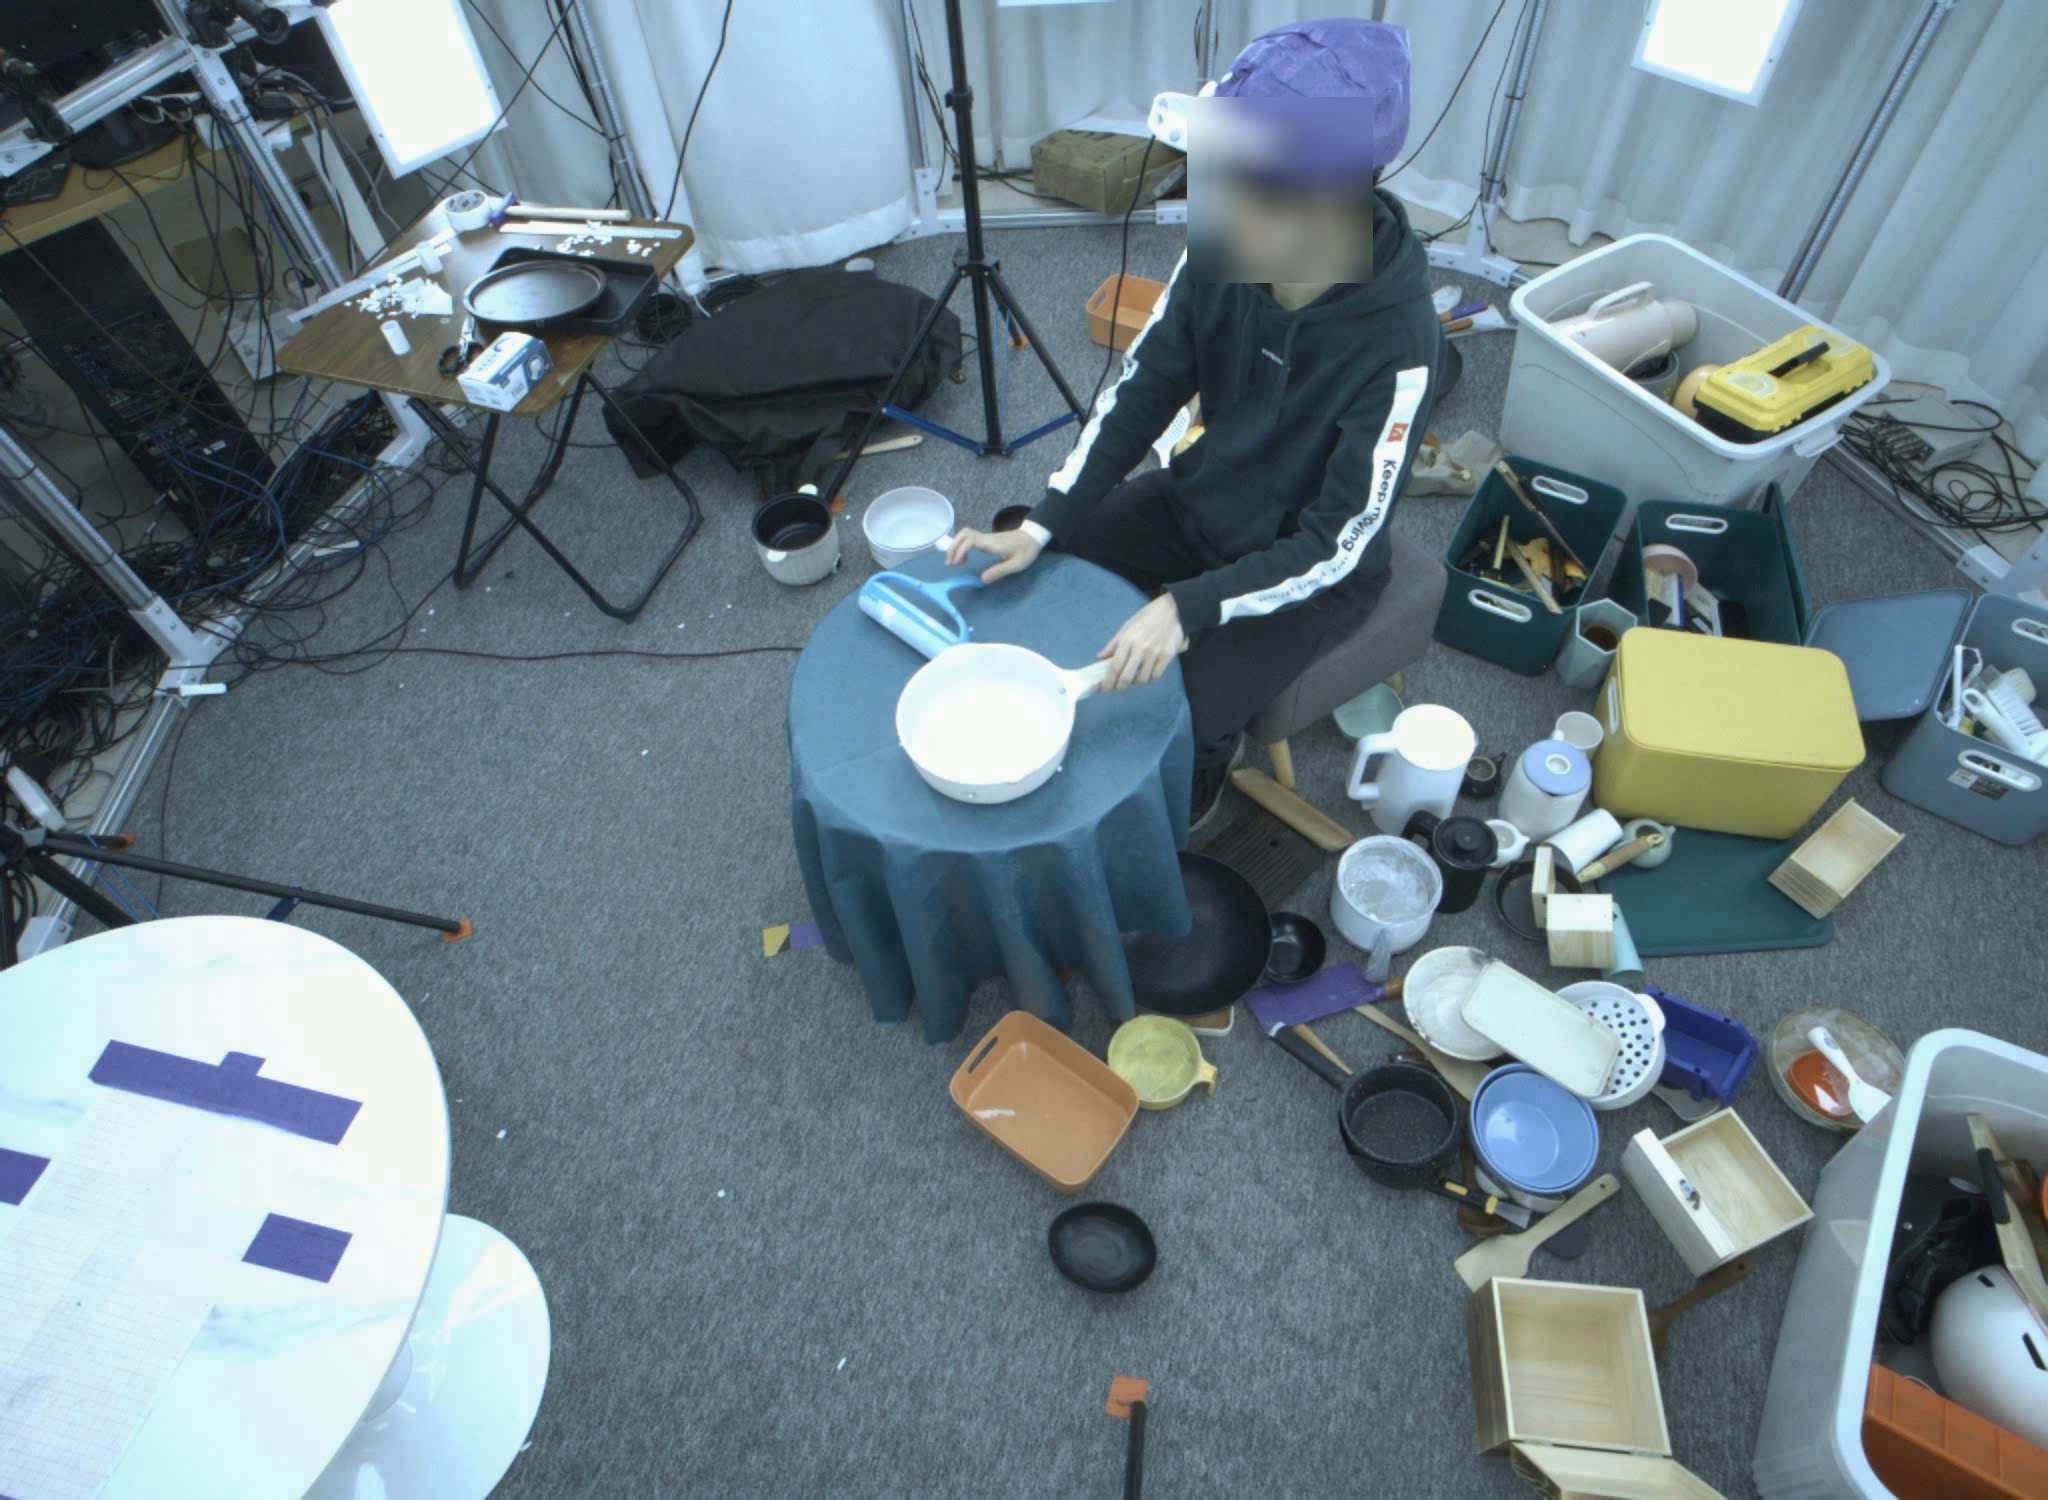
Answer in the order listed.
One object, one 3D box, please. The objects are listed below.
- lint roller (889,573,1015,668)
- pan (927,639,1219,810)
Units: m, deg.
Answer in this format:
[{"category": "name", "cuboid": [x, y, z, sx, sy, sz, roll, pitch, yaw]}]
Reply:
[{"category": "lint roller", "cuboid": [-0.086, -0.228, 1.913, 0.225, 0.069, 0.181, 35, 64, 25]}, {"category": "pan", "cuboid": [0.077, -0.056, 1.758, 0.438, 0.103, 0.258, -18, 54, -10]}]
